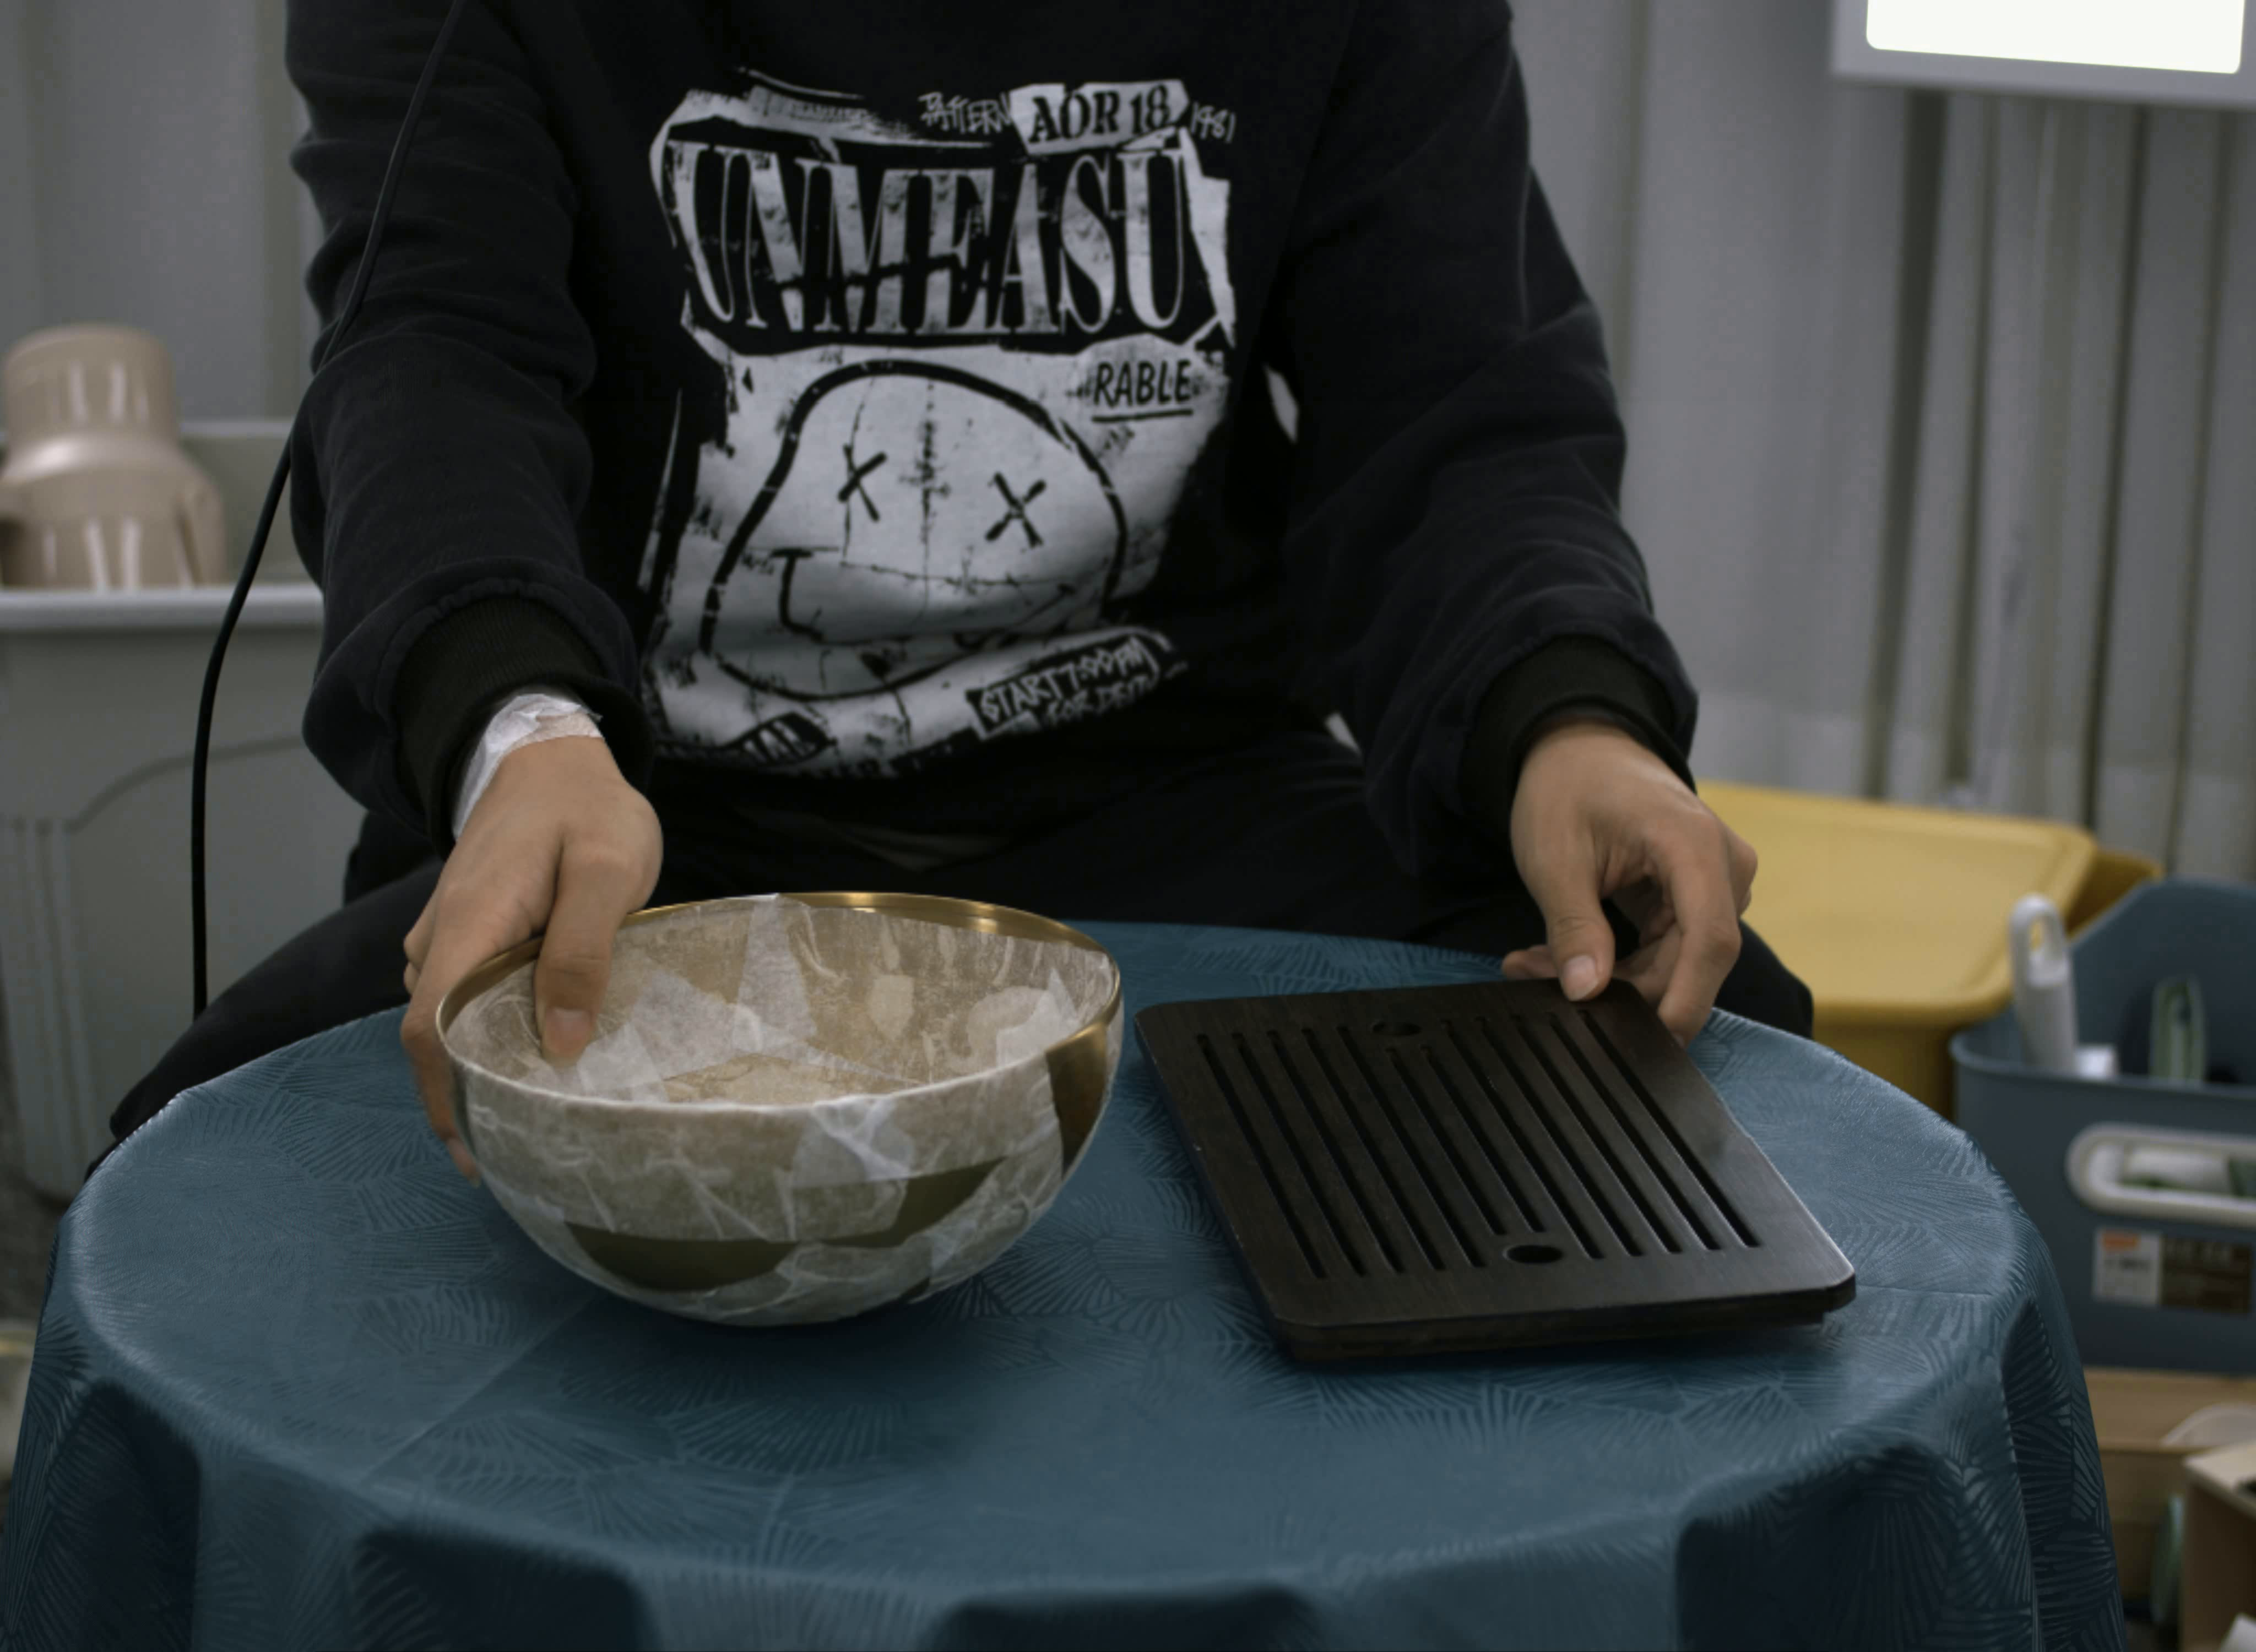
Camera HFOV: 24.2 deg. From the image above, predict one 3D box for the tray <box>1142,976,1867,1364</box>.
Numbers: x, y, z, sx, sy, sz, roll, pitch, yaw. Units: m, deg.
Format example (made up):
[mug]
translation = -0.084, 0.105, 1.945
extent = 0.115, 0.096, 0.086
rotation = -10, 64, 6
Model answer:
[tray]
translation = 0.108, 0.103, 1.627
extent = 0.170, 0.019, 0.303
rotation = -3, 16, -8

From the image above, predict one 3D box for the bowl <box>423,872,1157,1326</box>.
[bowl]
translation = -0.096, 0.089, 1.532
extent = 0.214, 0.095, 0.213
rotation = -3, 17, 1
